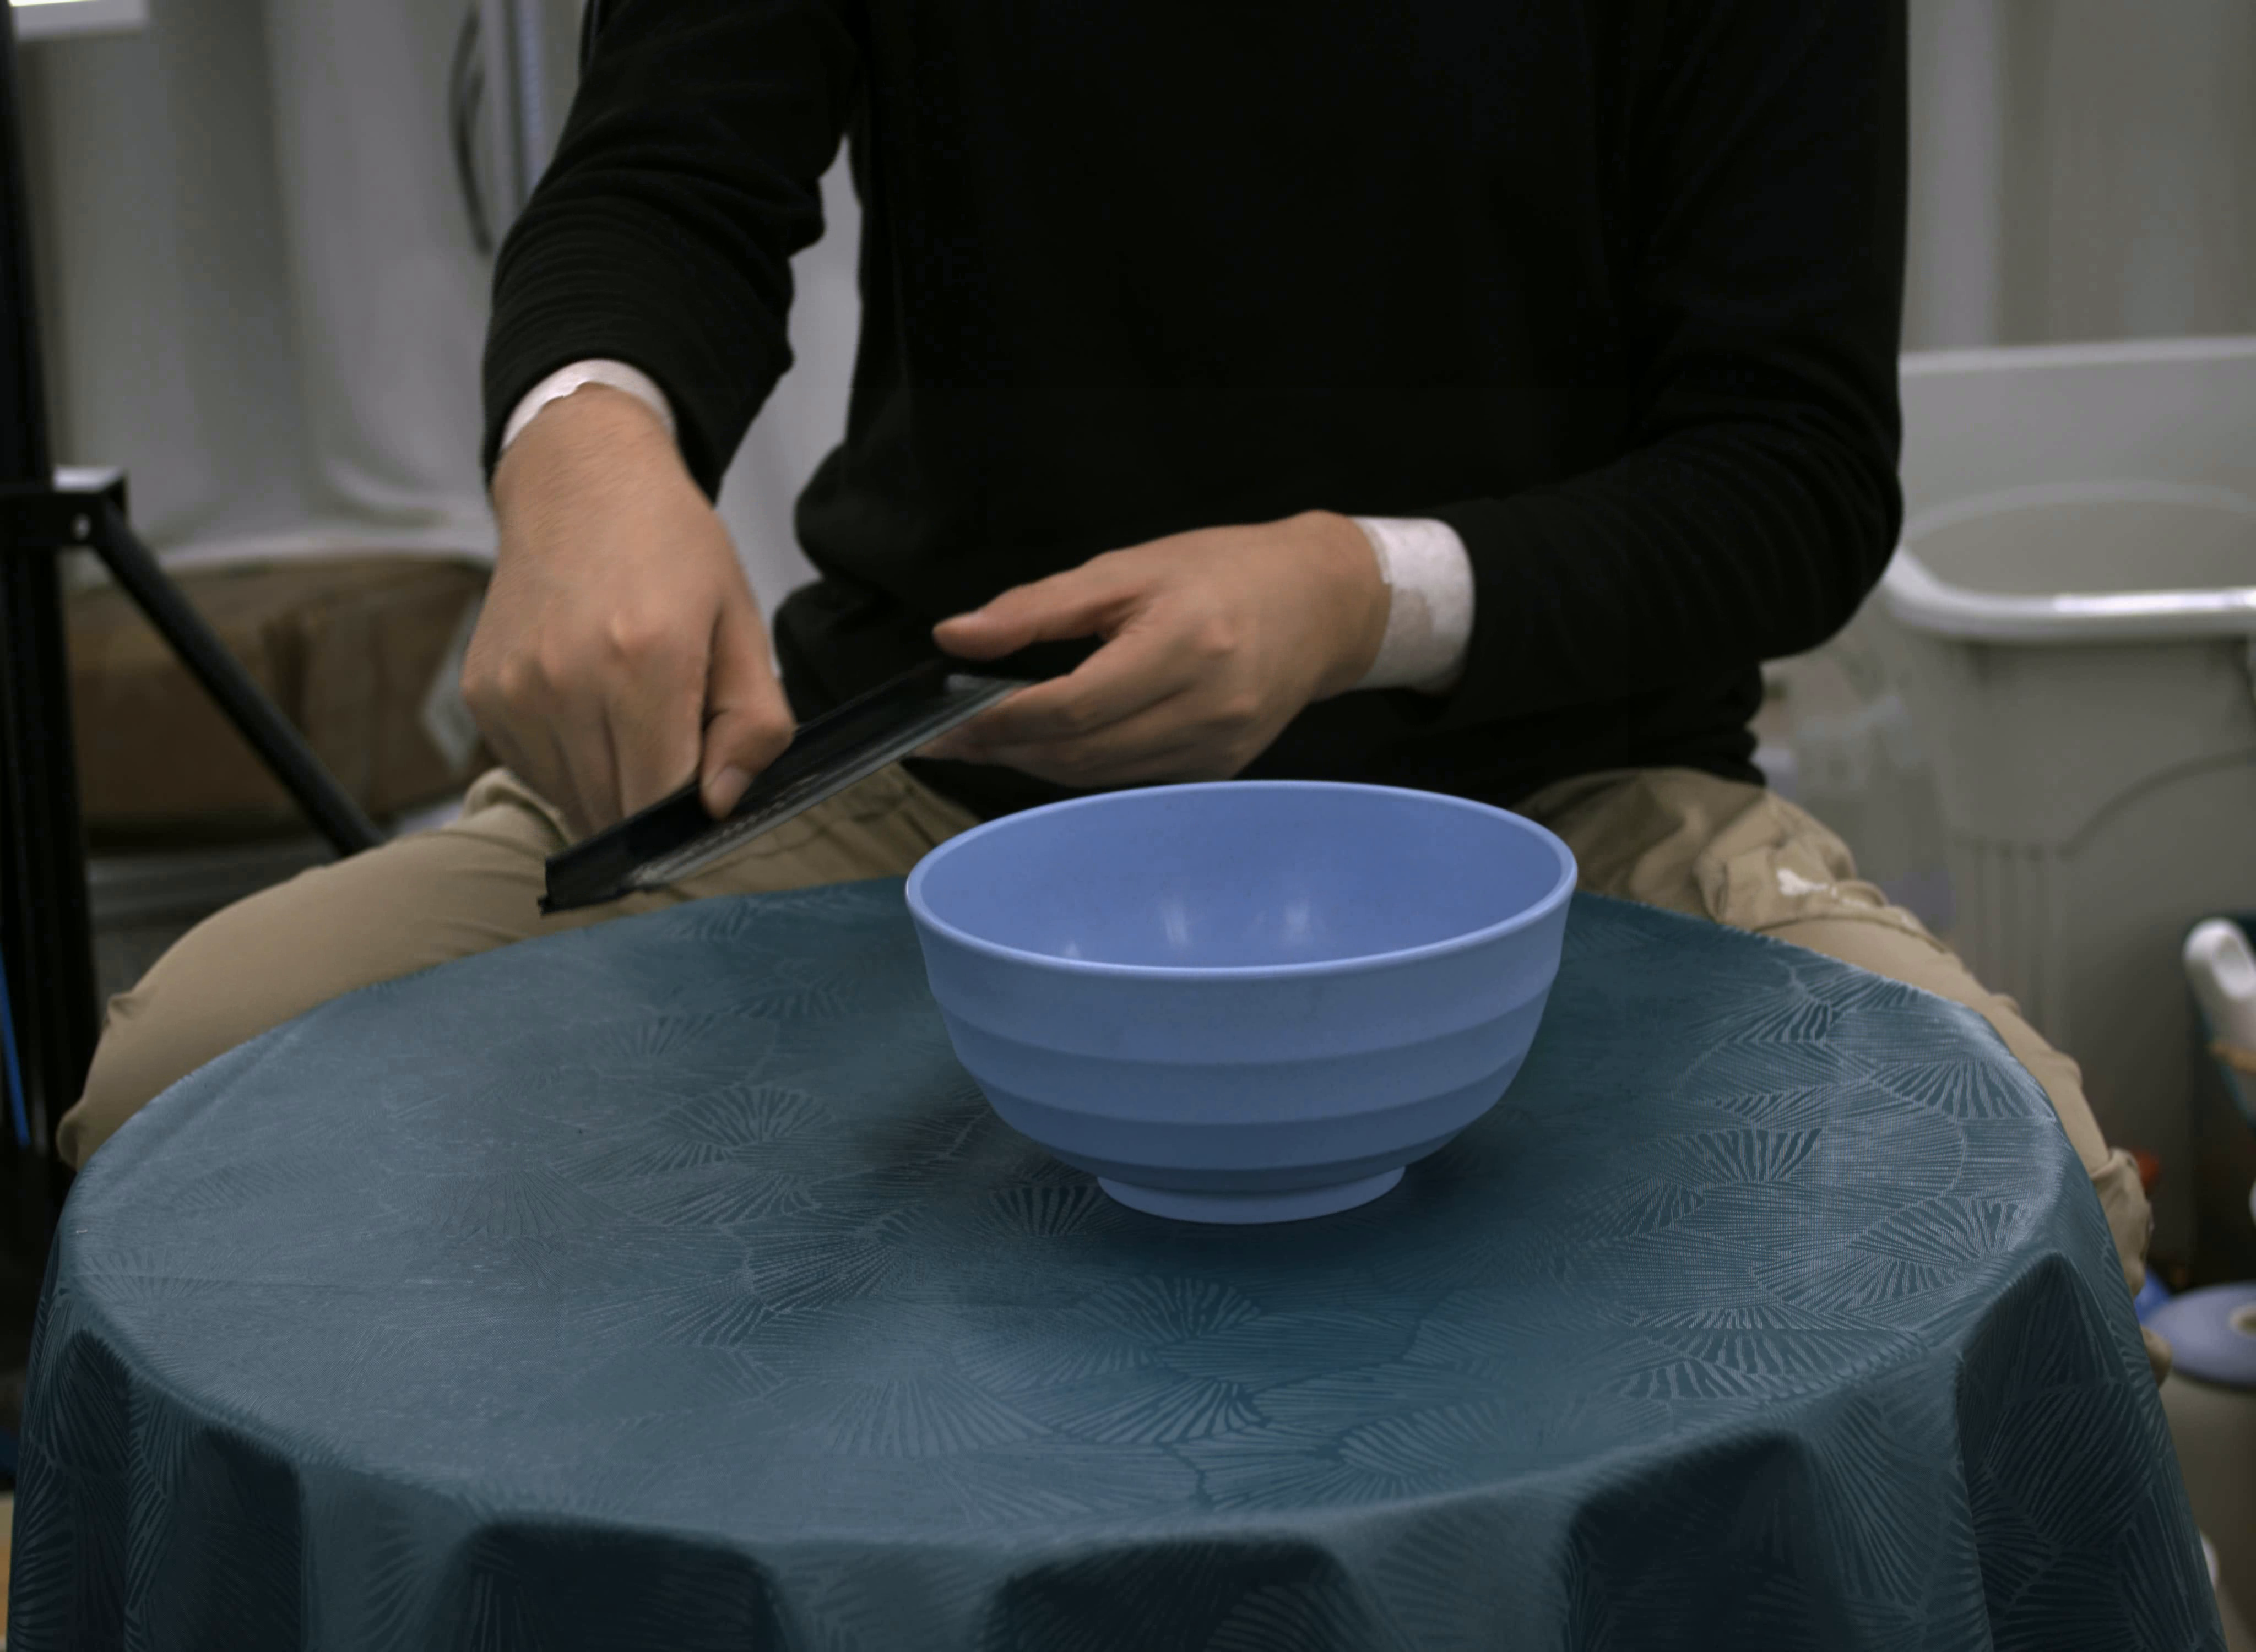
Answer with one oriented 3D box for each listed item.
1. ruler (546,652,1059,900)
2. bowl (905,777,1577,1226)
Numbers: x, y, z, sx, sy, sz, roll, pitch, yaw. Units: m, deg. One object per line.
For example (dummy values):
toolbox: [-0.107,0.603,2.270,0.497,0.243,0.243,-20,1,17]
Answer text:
ruler: [-0.092,-0.020,1.584,0.040,0.017,0.308,-8,9,22]
bowl: [0.034,0.057,1.556,0.195,0.095,0.197,-2,16,-1]
